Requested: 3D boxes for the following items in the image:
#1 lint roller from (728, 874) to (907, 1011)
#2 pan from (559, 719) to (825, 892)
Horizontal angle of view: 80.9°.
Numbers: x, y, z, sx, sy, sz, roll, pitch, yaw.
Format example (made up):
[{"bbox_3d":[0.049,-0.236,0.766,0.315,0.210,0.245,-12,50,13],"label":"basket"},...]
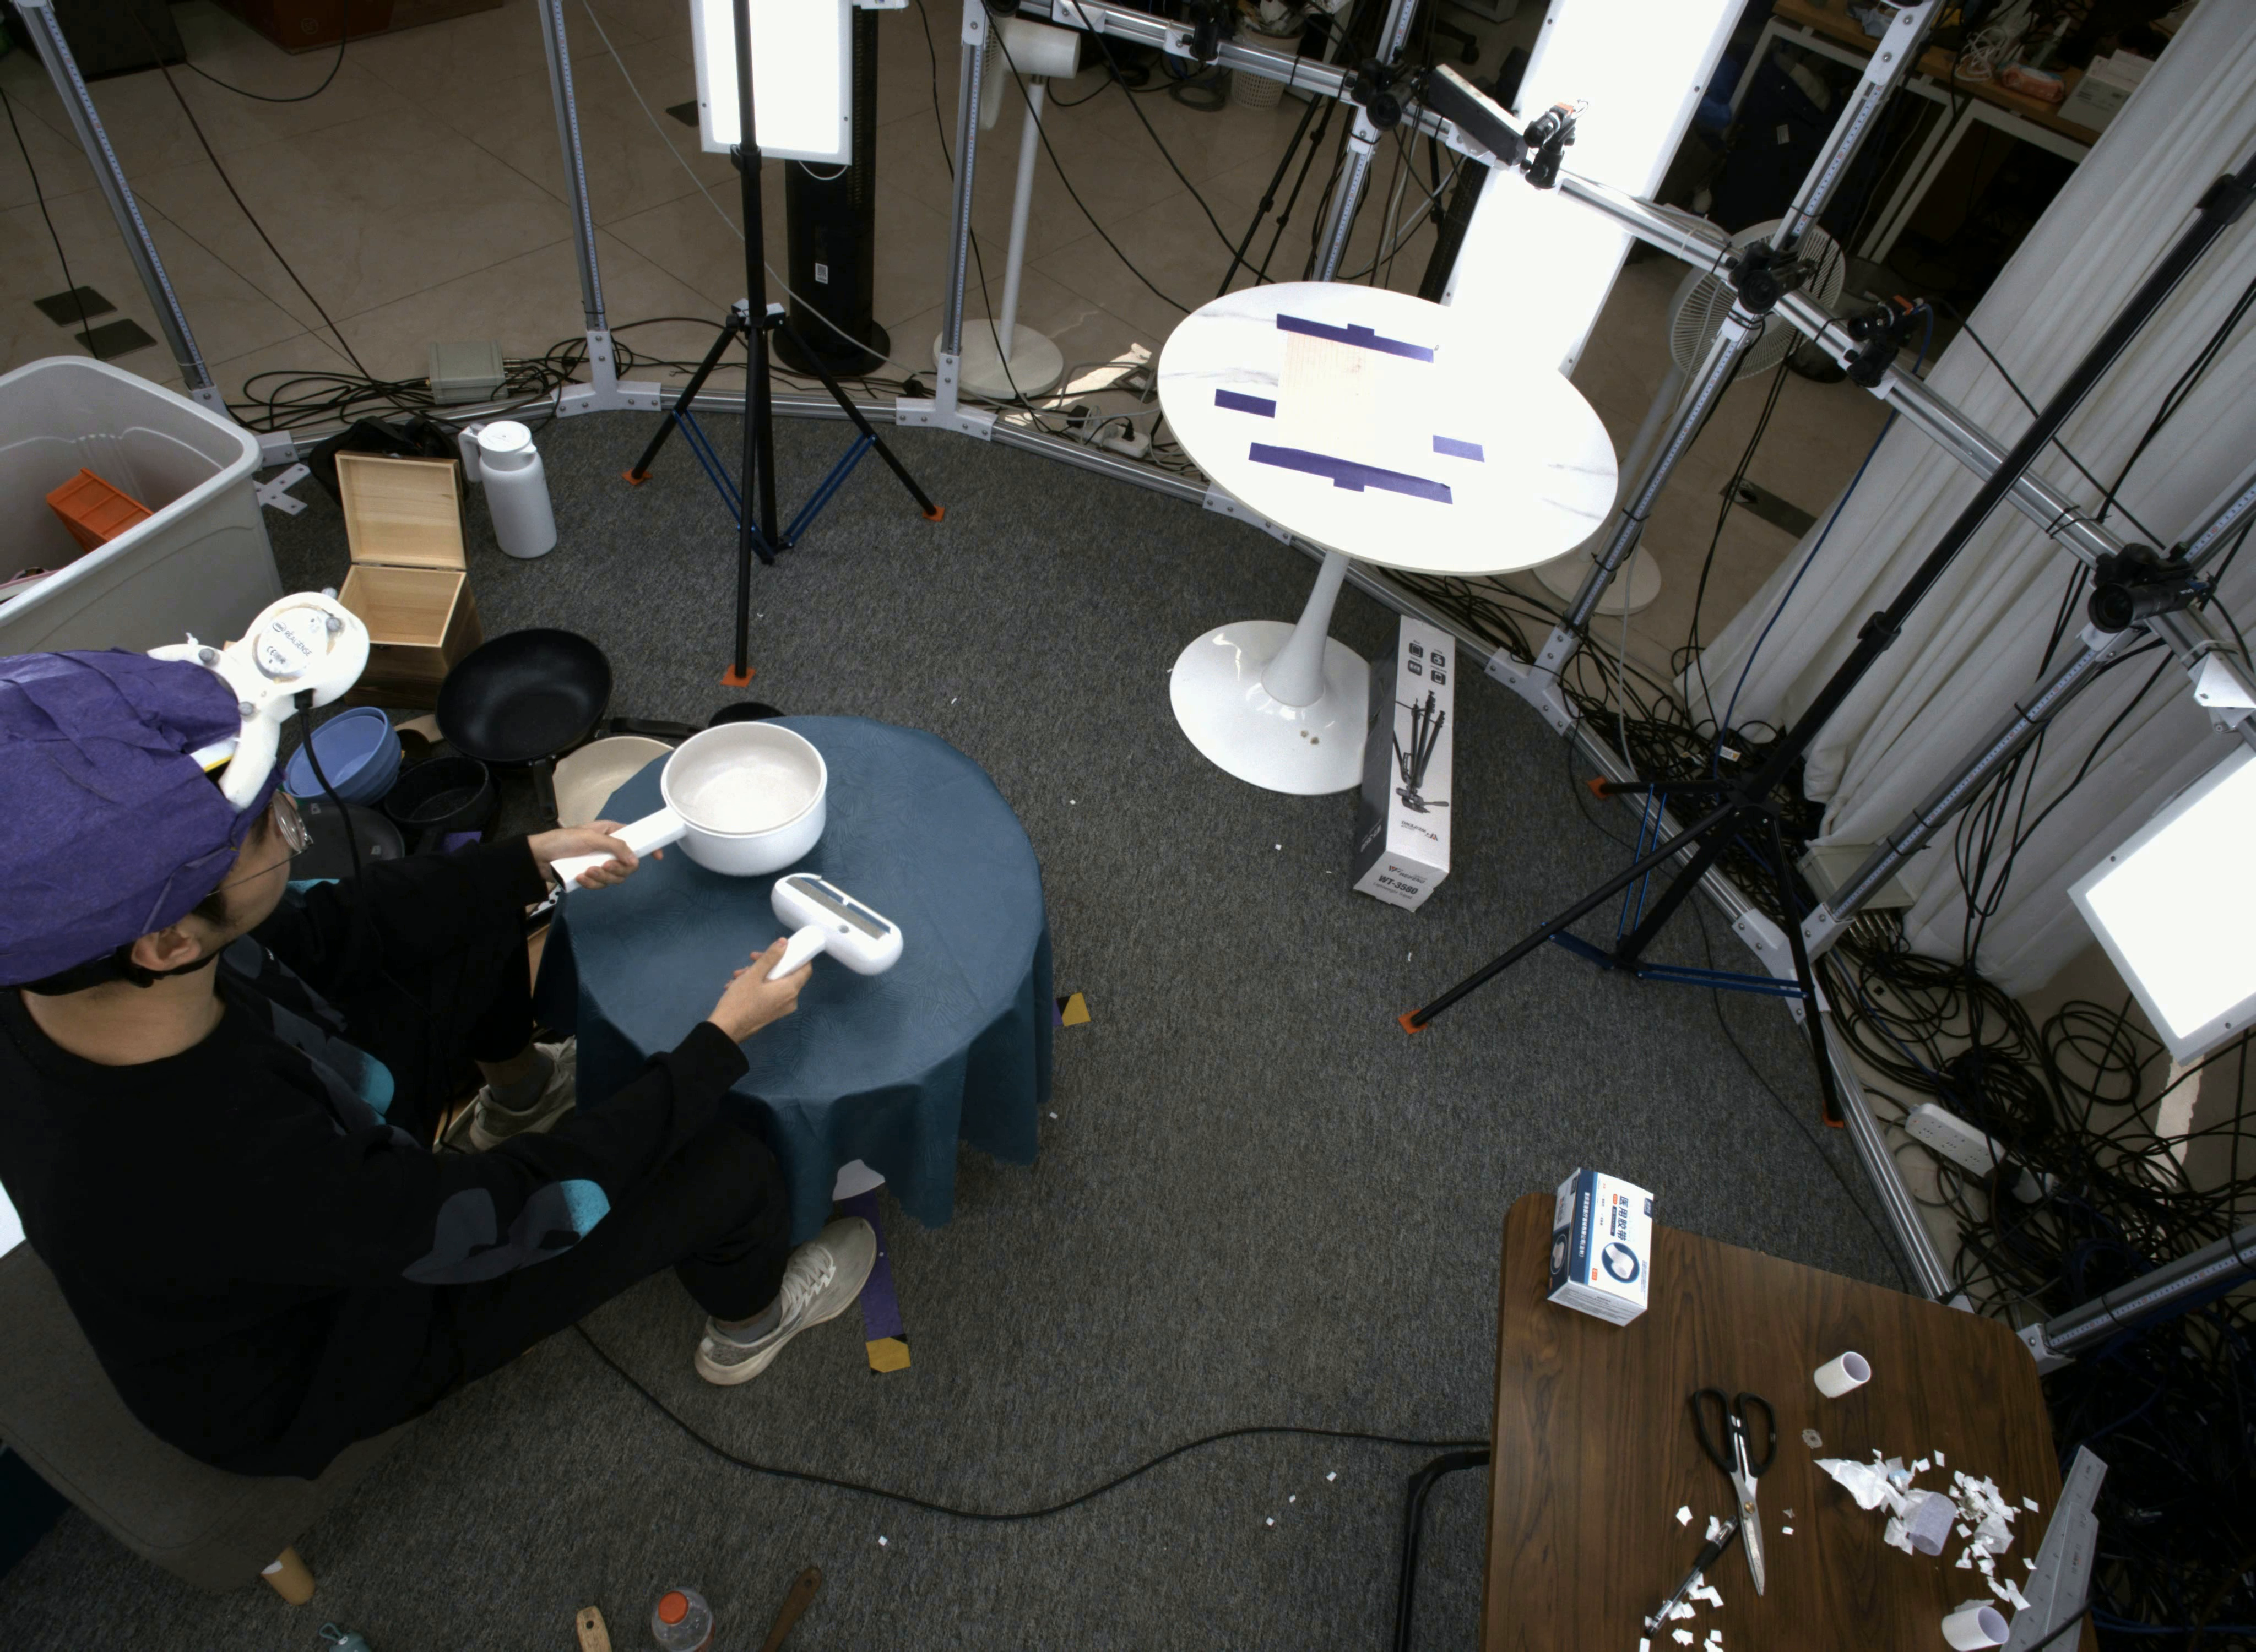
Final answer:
[{"bbox_3d":[-0.384,0.143,1.520,0.186,0.076,0.193,33,44,28],"label":"lint roller"},{"bbox_3d":[-0.539,0.001,1.598,0.356,0.104,0.195,-33,61,-34],"label":"pan"}]
